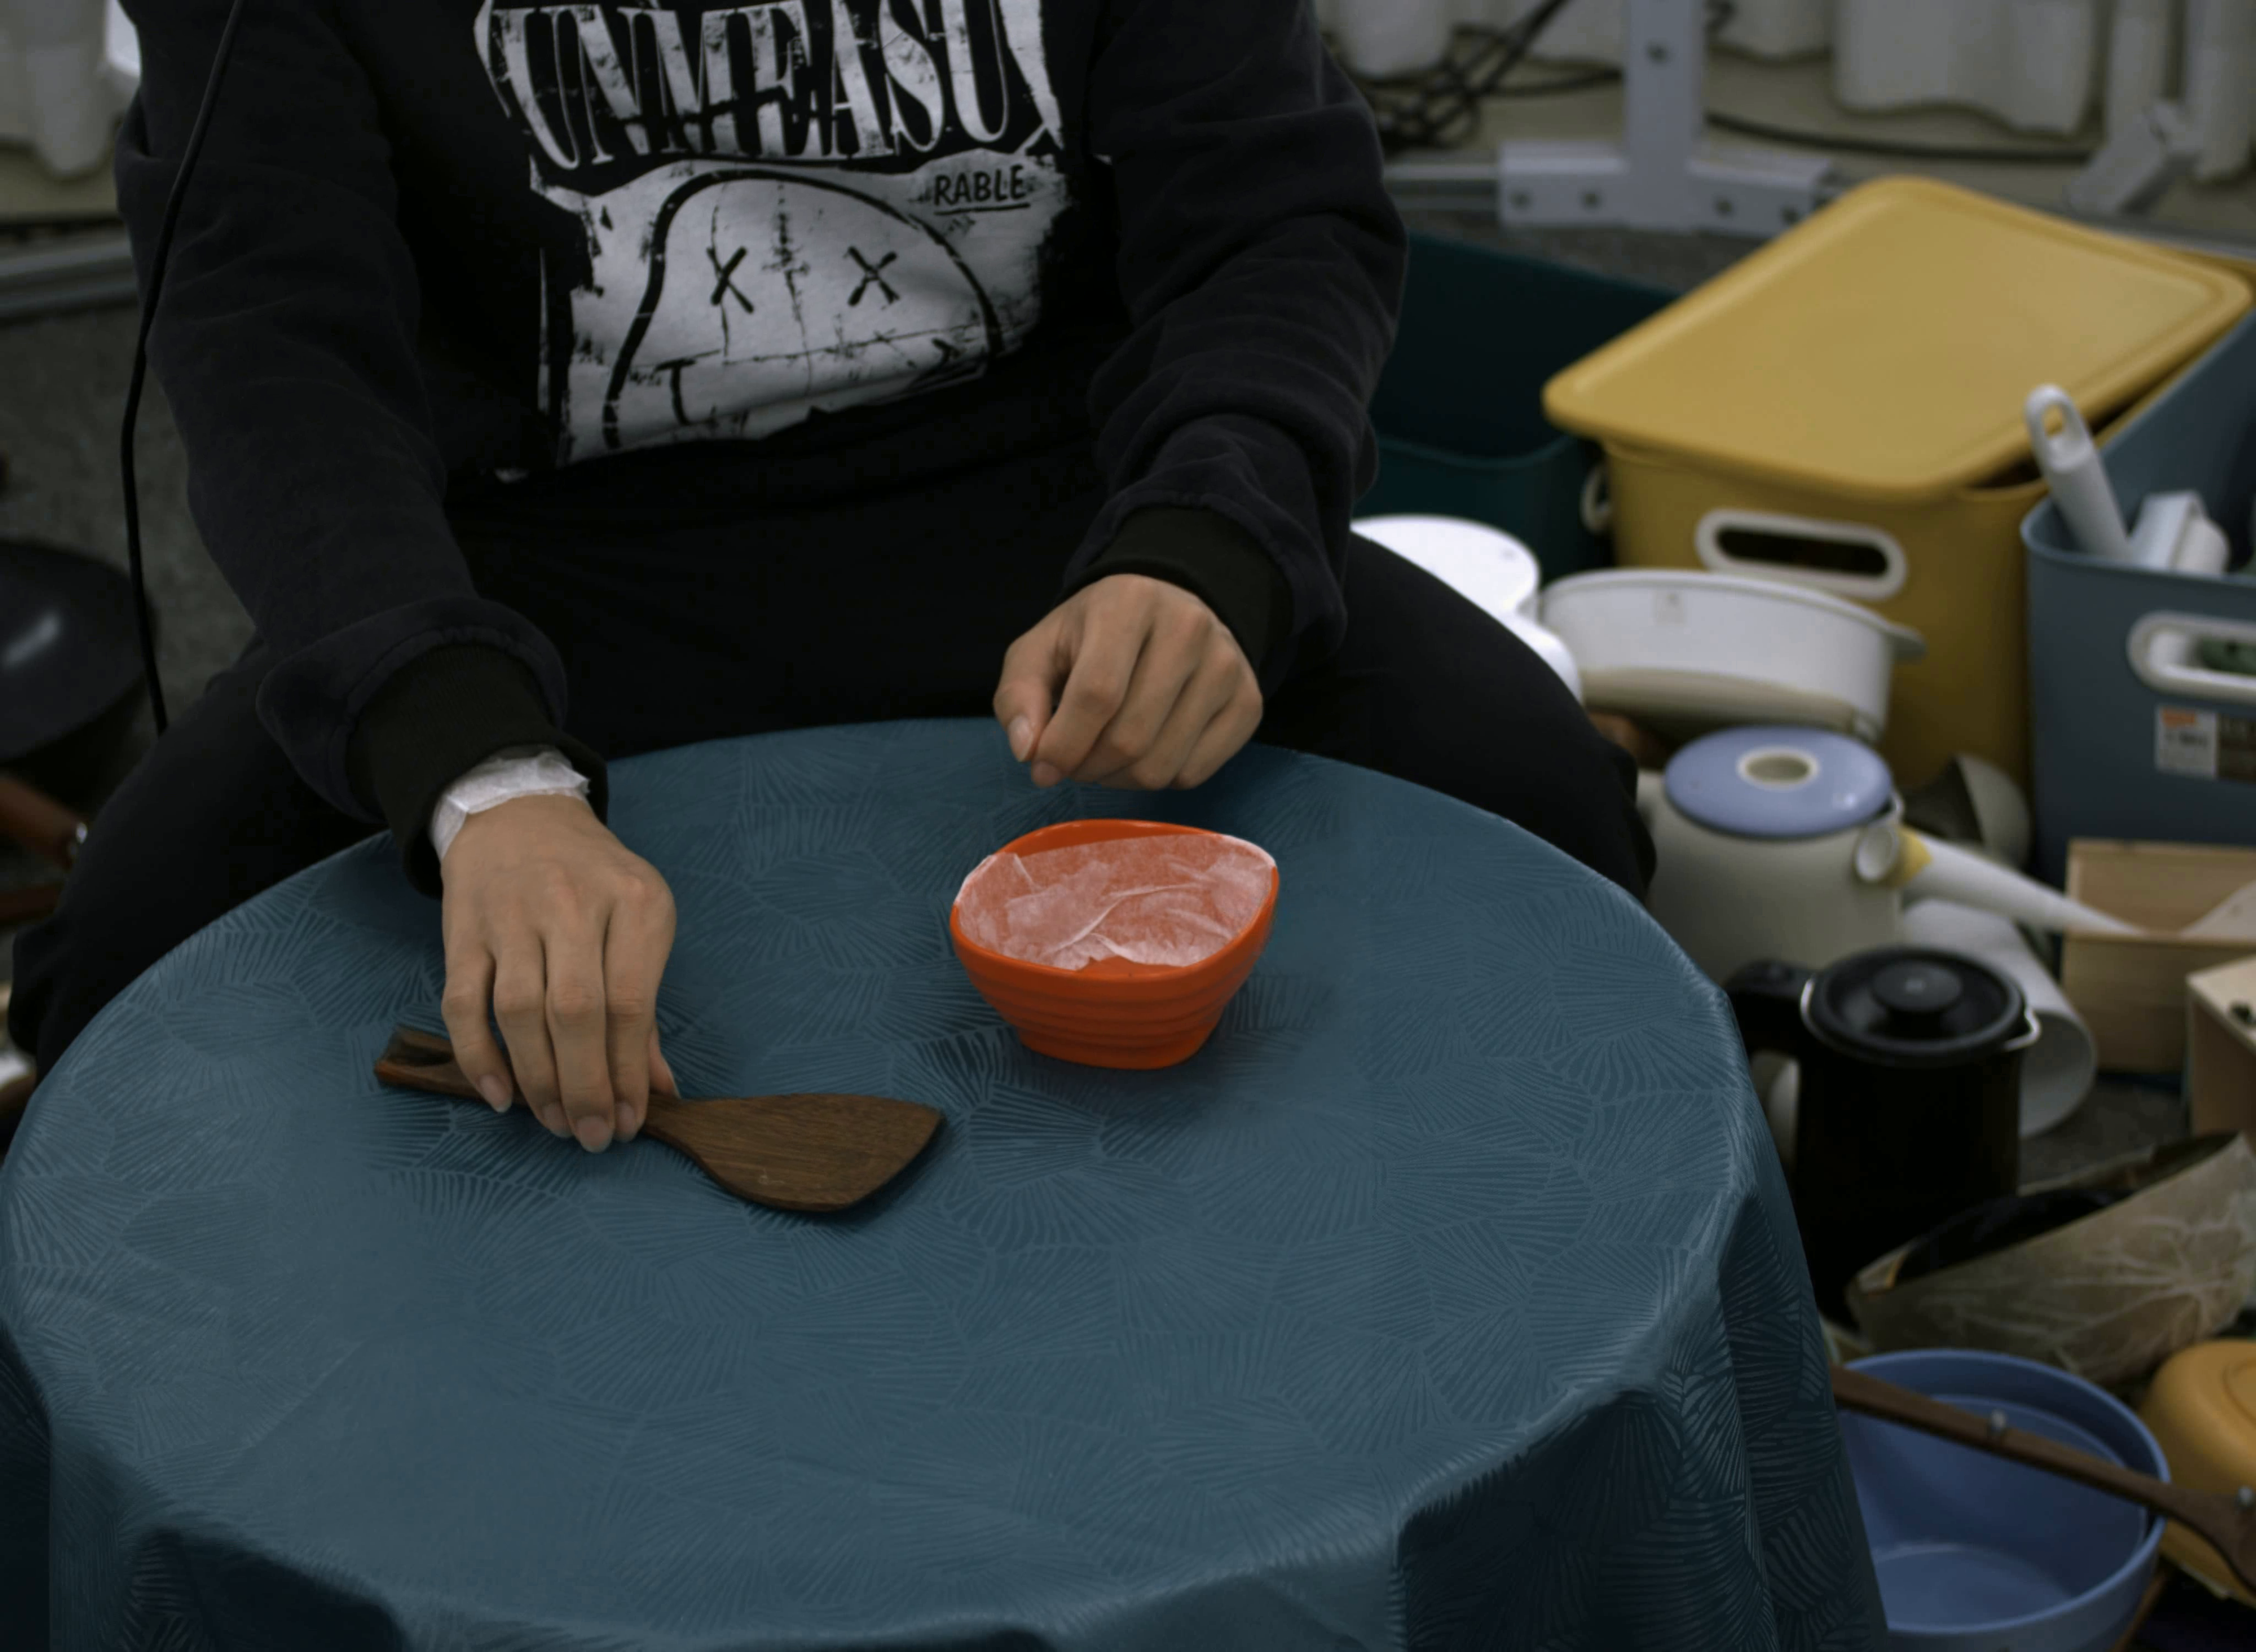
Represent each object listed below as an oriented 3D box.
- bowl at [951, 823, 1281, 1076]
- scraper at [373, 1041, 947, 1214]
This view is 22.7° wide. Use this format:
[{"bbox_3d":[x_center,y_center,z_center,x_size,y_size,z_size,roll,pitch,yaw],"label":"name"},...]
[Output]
[{"bbox_3d":[-0.002,0.047,1.954,0.118,0.051,0.121,-3,28,2],"label":"bowl"},{"bbox_3d":[-0.164,0.098,1.913,0.210,0.011,0.077,10,28,24],"label":"scraper"}]
